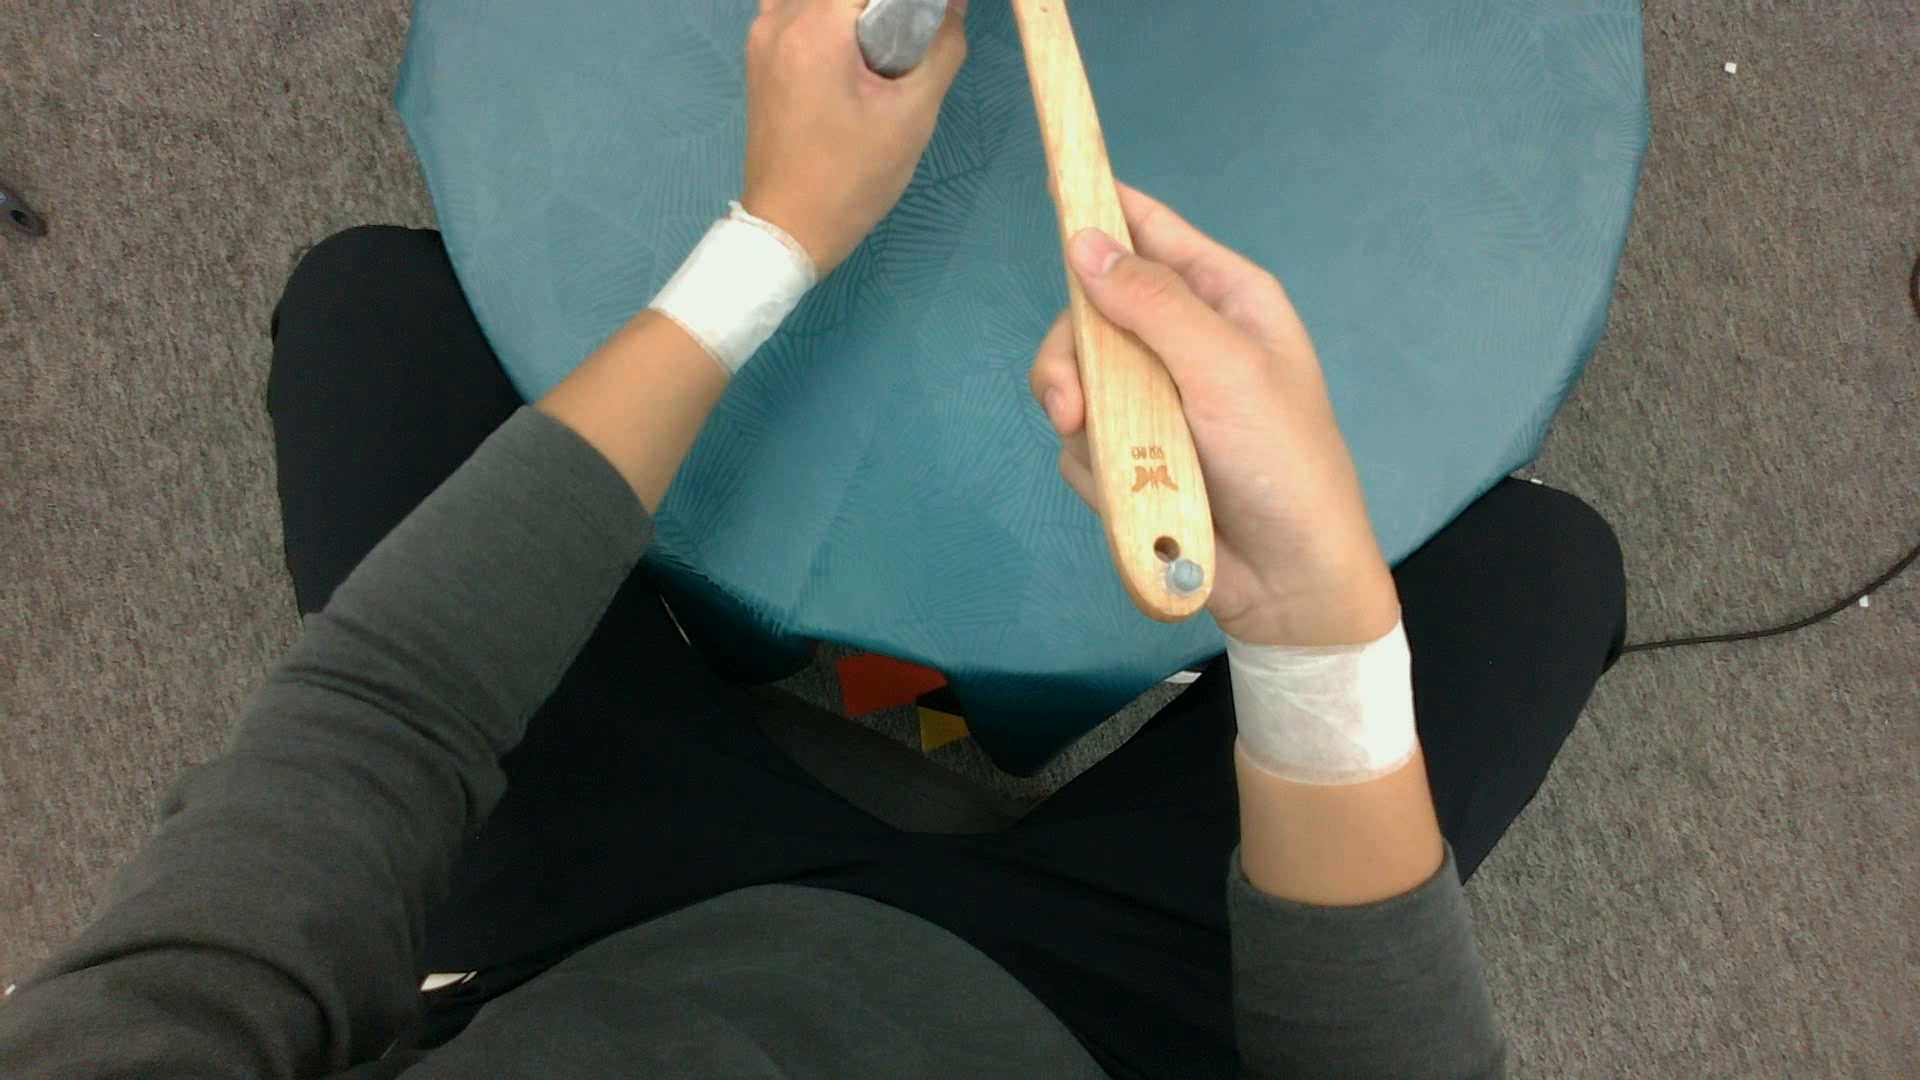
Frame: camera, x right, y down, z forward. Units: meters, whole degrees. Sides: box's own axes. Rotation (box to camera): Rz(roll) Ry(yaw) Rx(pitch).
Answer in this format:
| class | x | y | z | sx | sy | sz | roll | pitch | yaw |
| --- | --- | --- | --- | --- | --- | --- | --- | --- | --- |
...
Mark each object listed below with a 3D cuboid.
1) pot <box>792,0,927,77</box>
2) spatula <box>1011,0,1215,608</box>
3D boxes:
| class | x | y | z | sx | sy | sz | roll | pitch | yaw |
| --- | --- | --- | --- | --- | --- | --- | --- | --- | --- |
| pot | -0.005 | -0.295 | 0.539 | 0.179 | 0.137 | 0.233 | 15 | 108 | -22 |
| spatula | 0.036 | -0.153 | 0.461 | 0.096 | 0.018 | 0.392 | -4 | 60 | -10 |
